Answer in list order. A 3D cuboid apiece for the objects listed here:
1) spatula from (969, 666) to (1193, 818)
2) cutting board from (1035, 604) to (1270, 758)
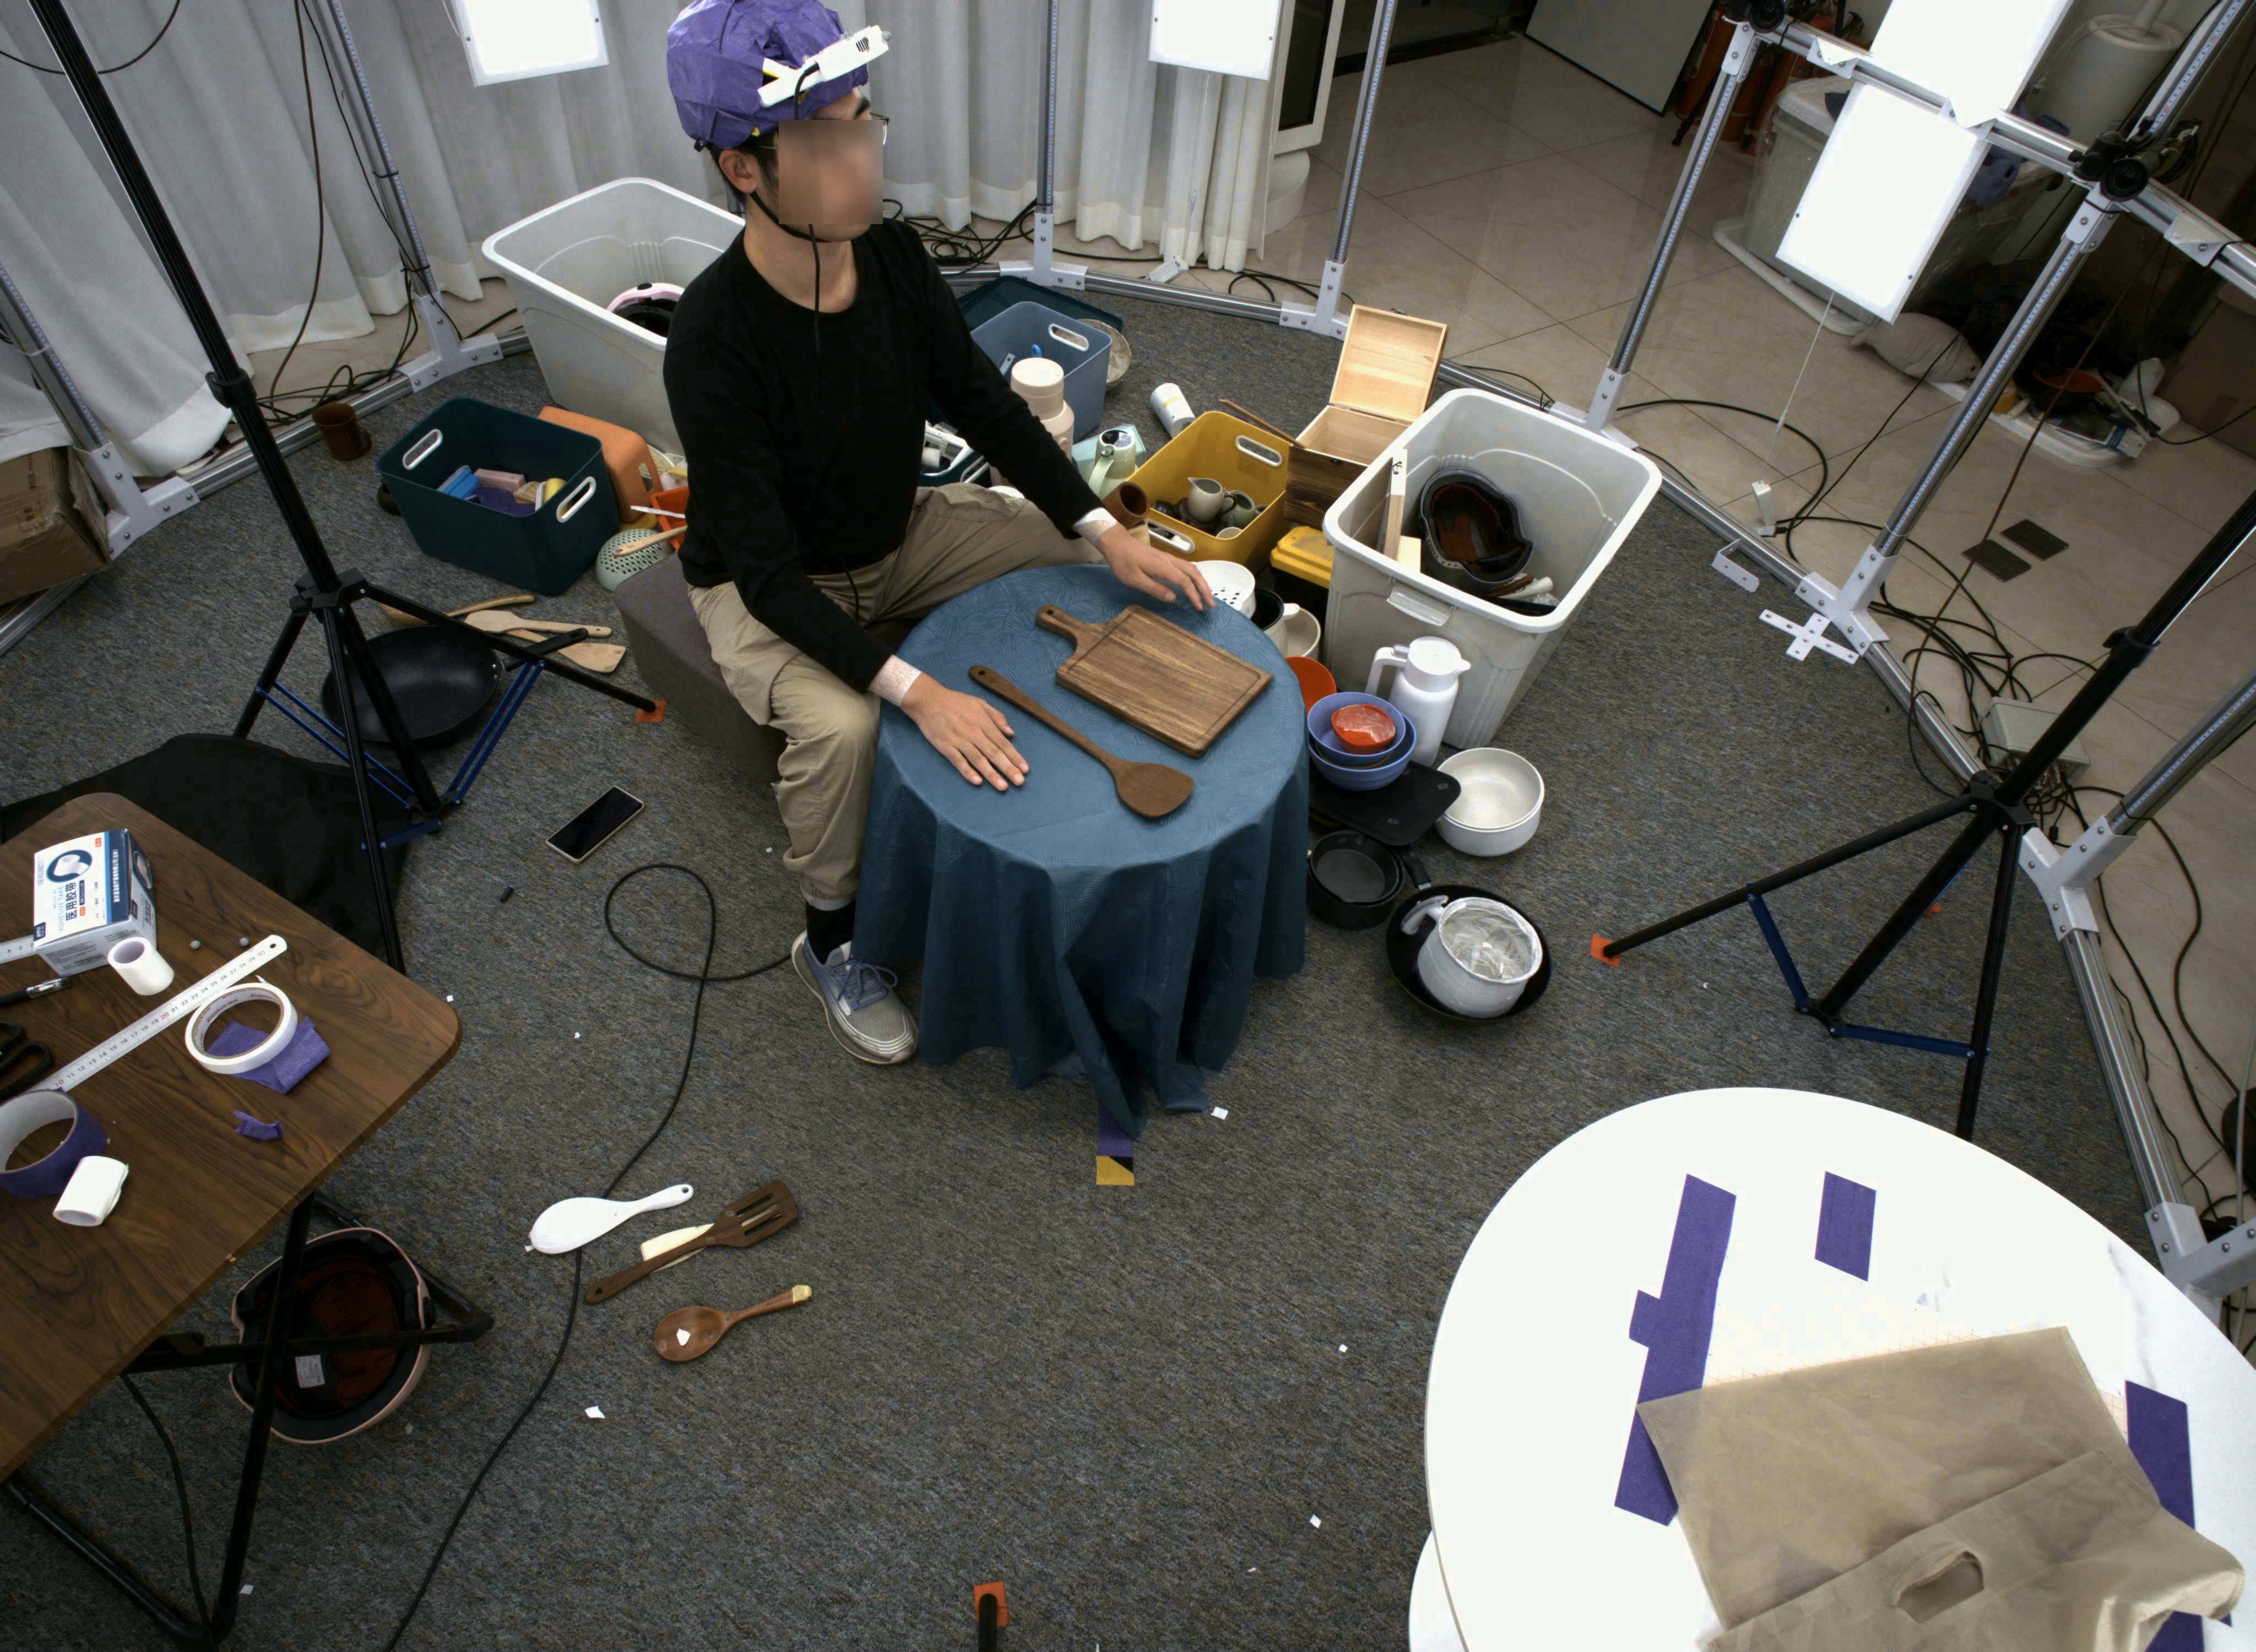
[{"bbox_3d":[-0.079,-0.127,1.765,0.391,0.015,0.097,35,55,24],"label":"spatula"},{"bbox_3d":[0.011,-0.238,1.863,0.356,0.022,0.204,30,53,20],"label":"cutting board"}]
